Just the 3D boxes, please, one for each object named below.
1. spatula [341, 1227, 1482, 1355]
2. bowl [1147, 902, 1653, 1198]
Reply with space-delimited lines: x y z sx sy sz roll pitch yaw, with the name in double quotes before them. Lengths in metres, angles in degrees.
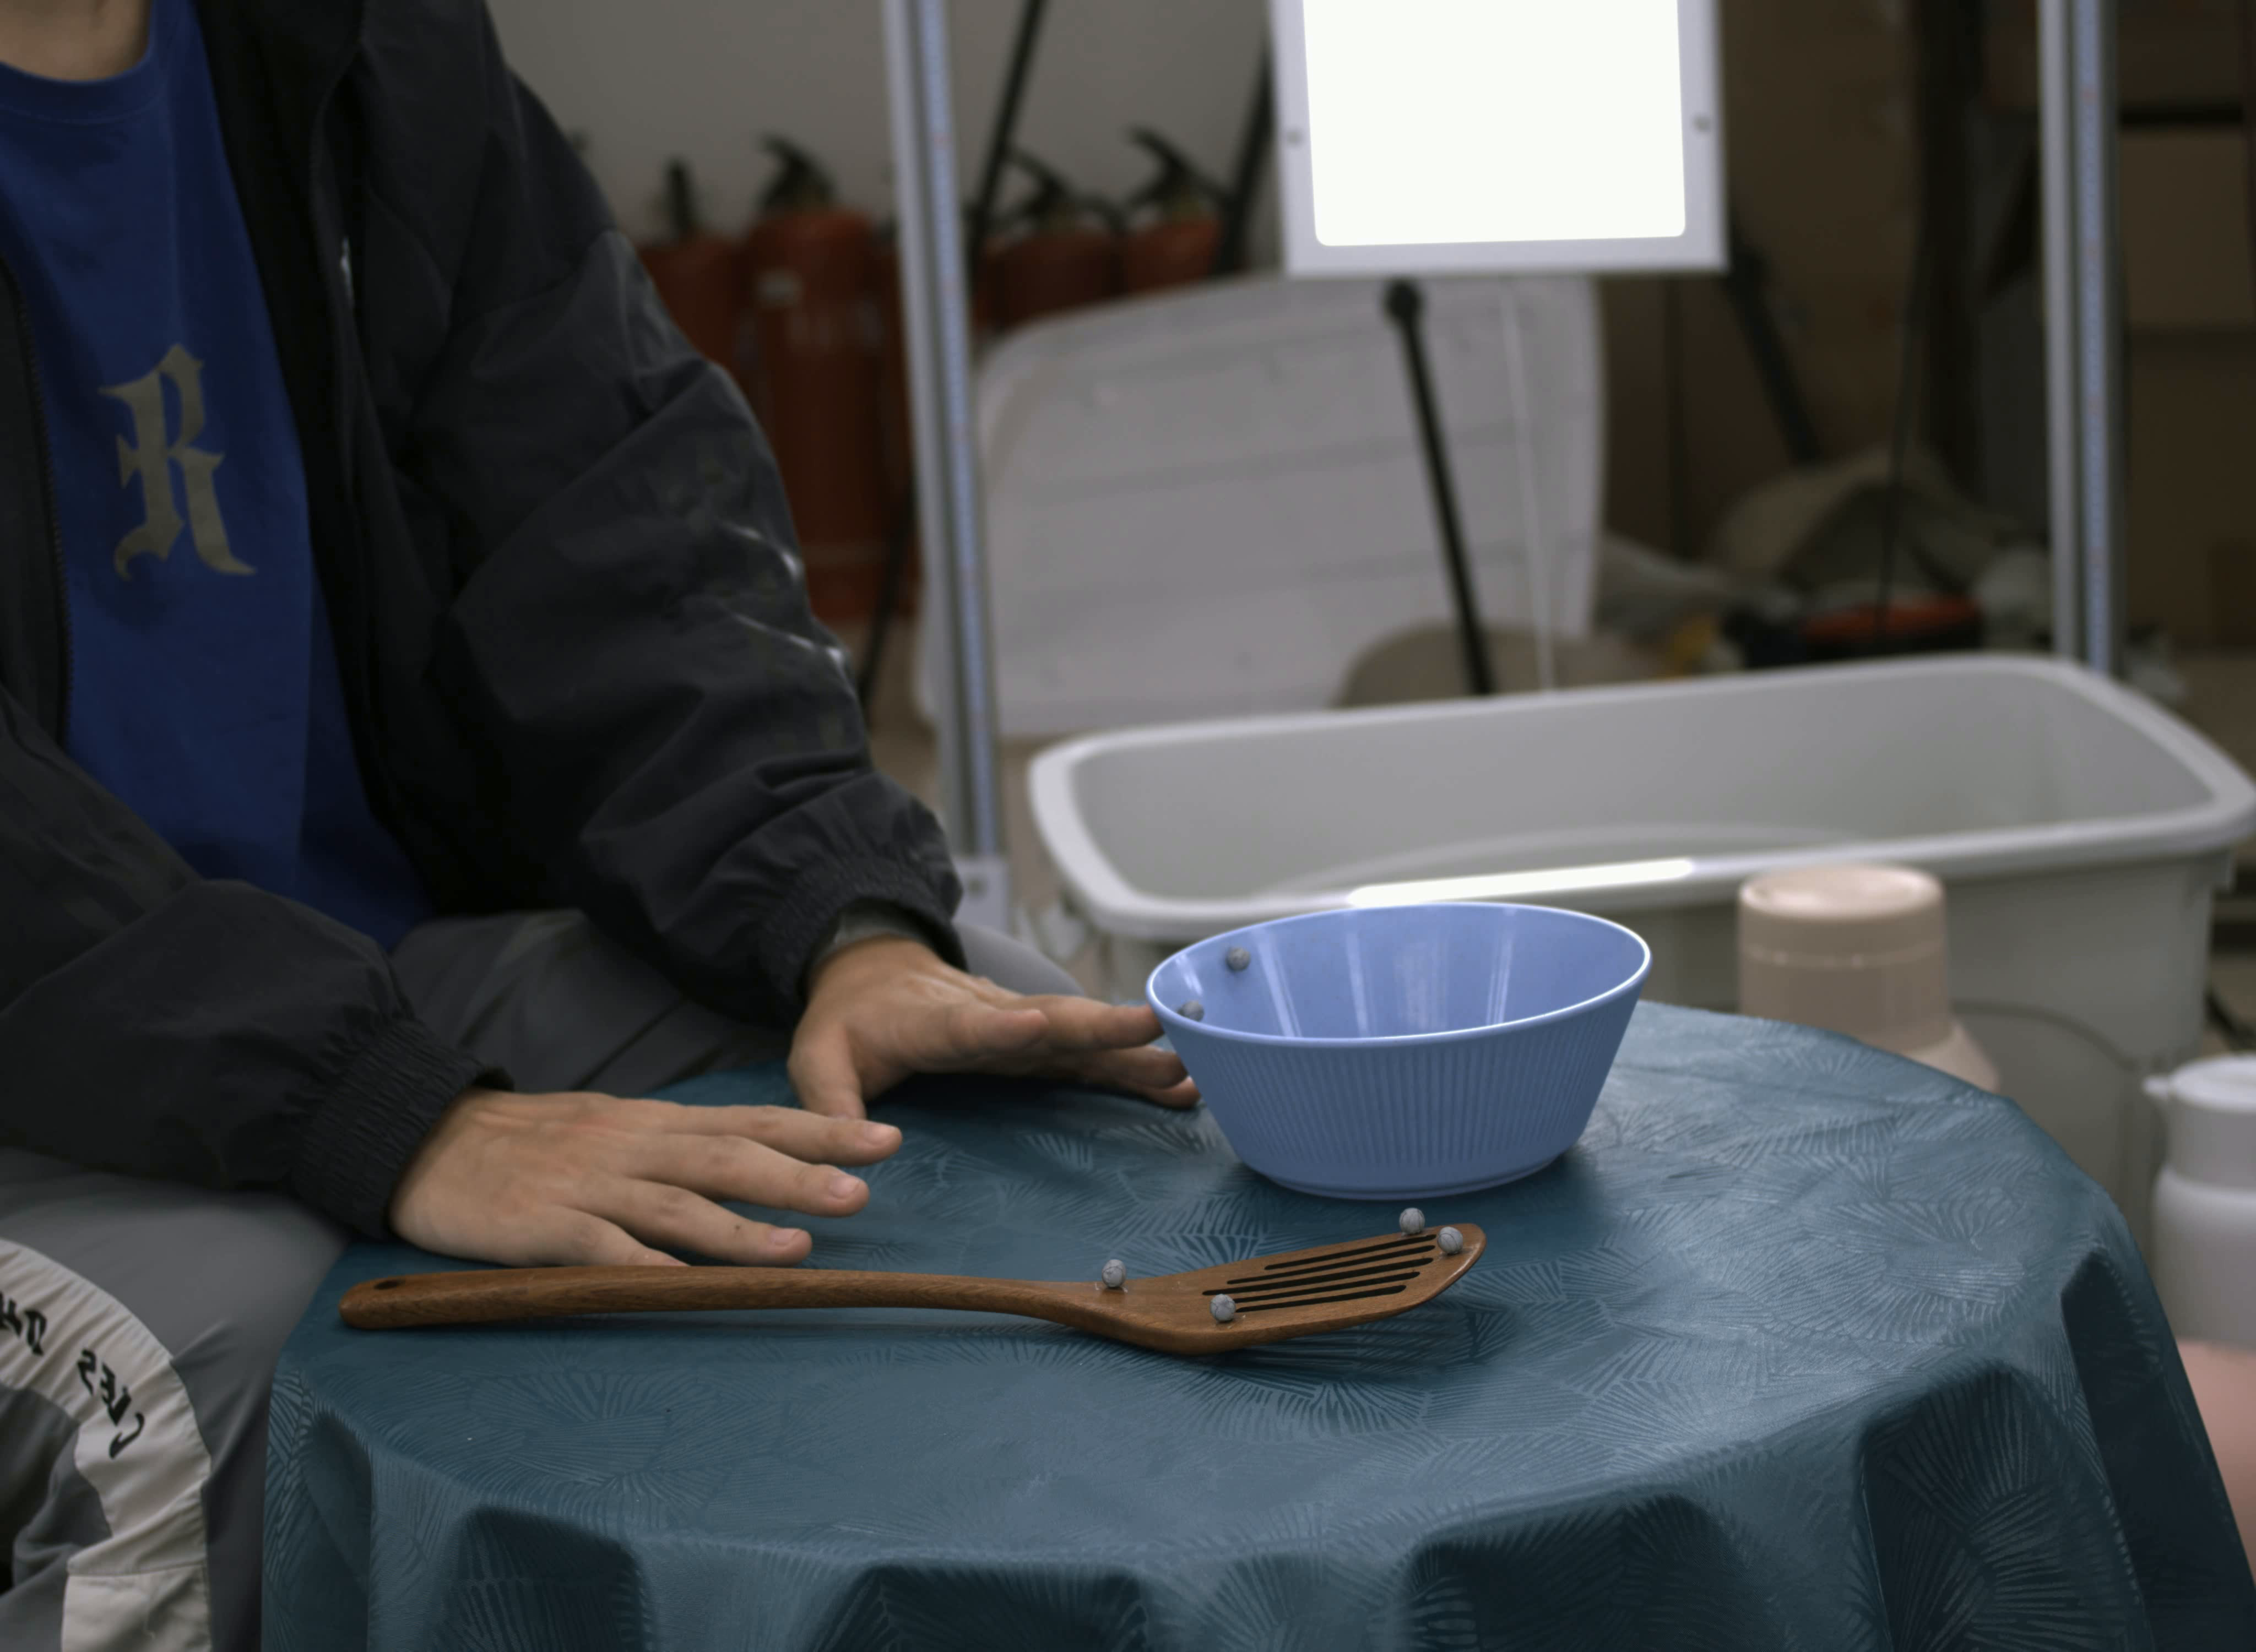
"spatula" -0.076 0.152 1.779 0.391 0.024 0.084 -2 13 19
"bowl" 0.097 0.080 1.903 0.175 0.070 0.176 -6 13 0
